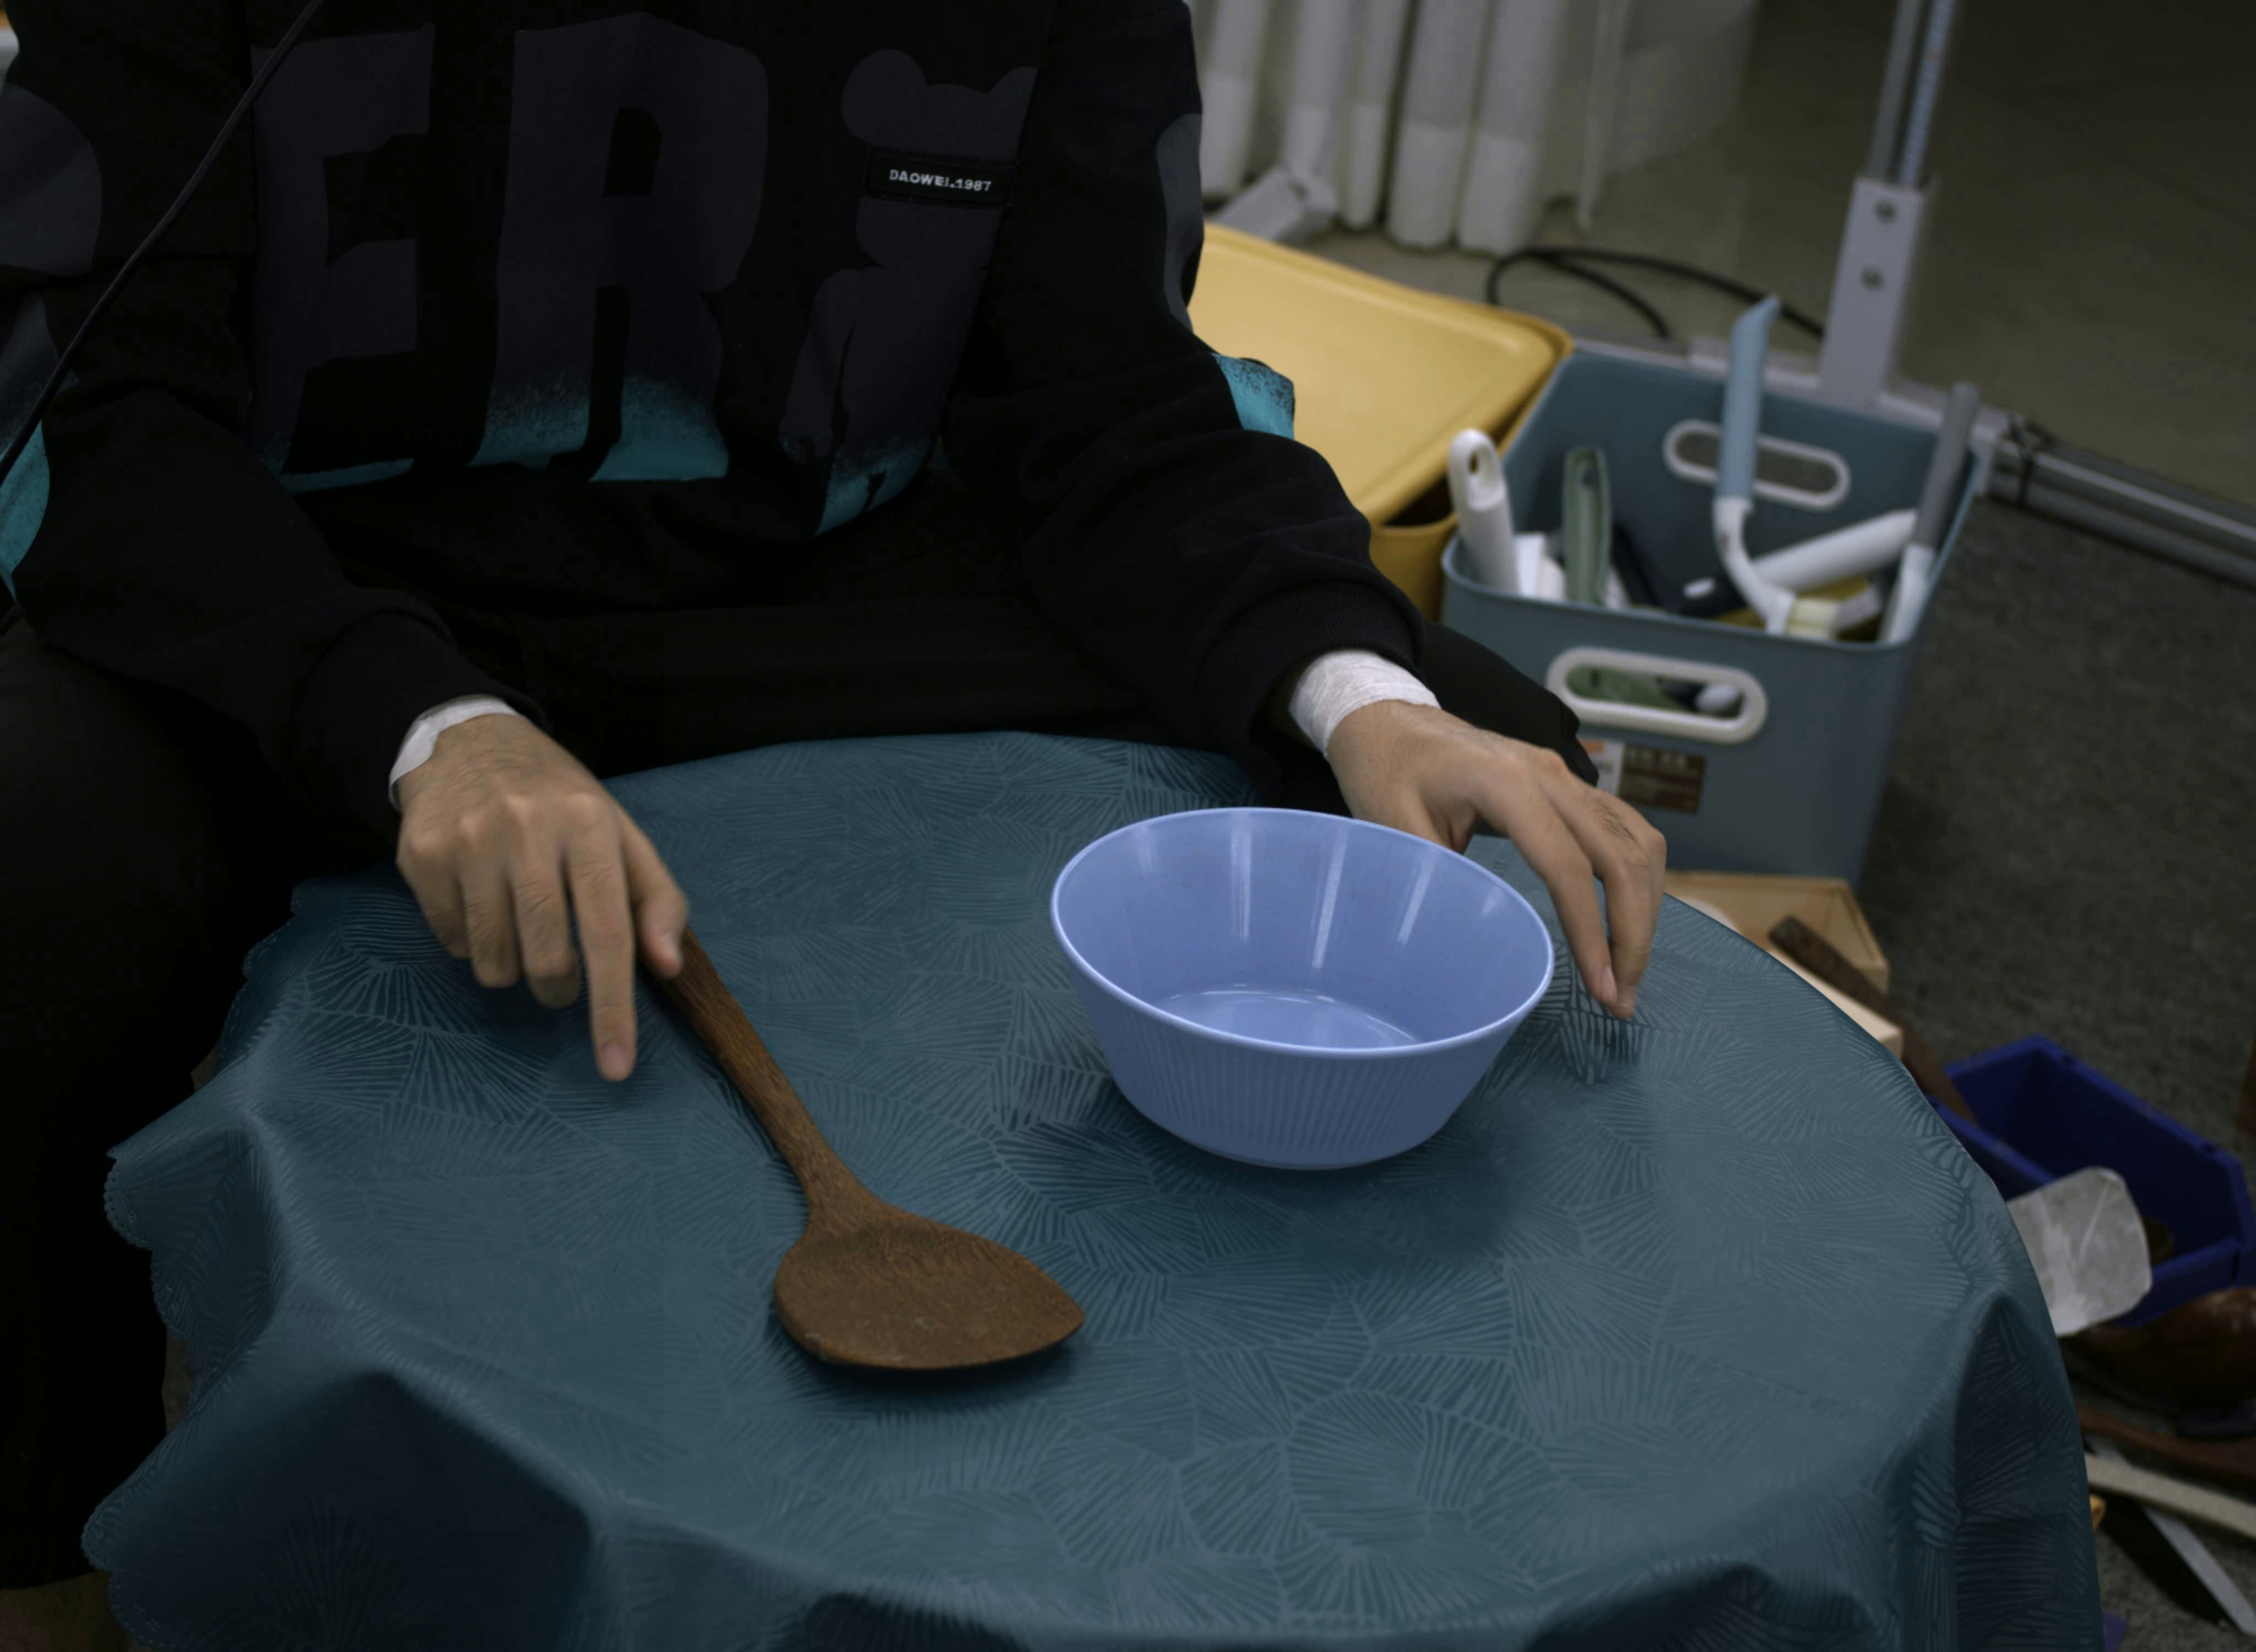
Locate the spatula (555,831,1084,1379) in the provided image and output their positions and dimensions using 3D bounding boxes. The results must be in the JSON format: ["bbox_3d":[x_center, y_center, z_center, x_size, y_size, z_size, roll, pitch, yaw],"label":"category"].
[{"bbox_3d":[-0.127,0.087,1.829,0.095,0.016,0.389,-6,29,-24],"label":"spatula"}]

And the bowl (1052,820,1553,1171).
[{"bbox_3d":[0.057,0.064,1.854,0.175,0.070,0.177,5,25,-3],"label":"bowl"}]
